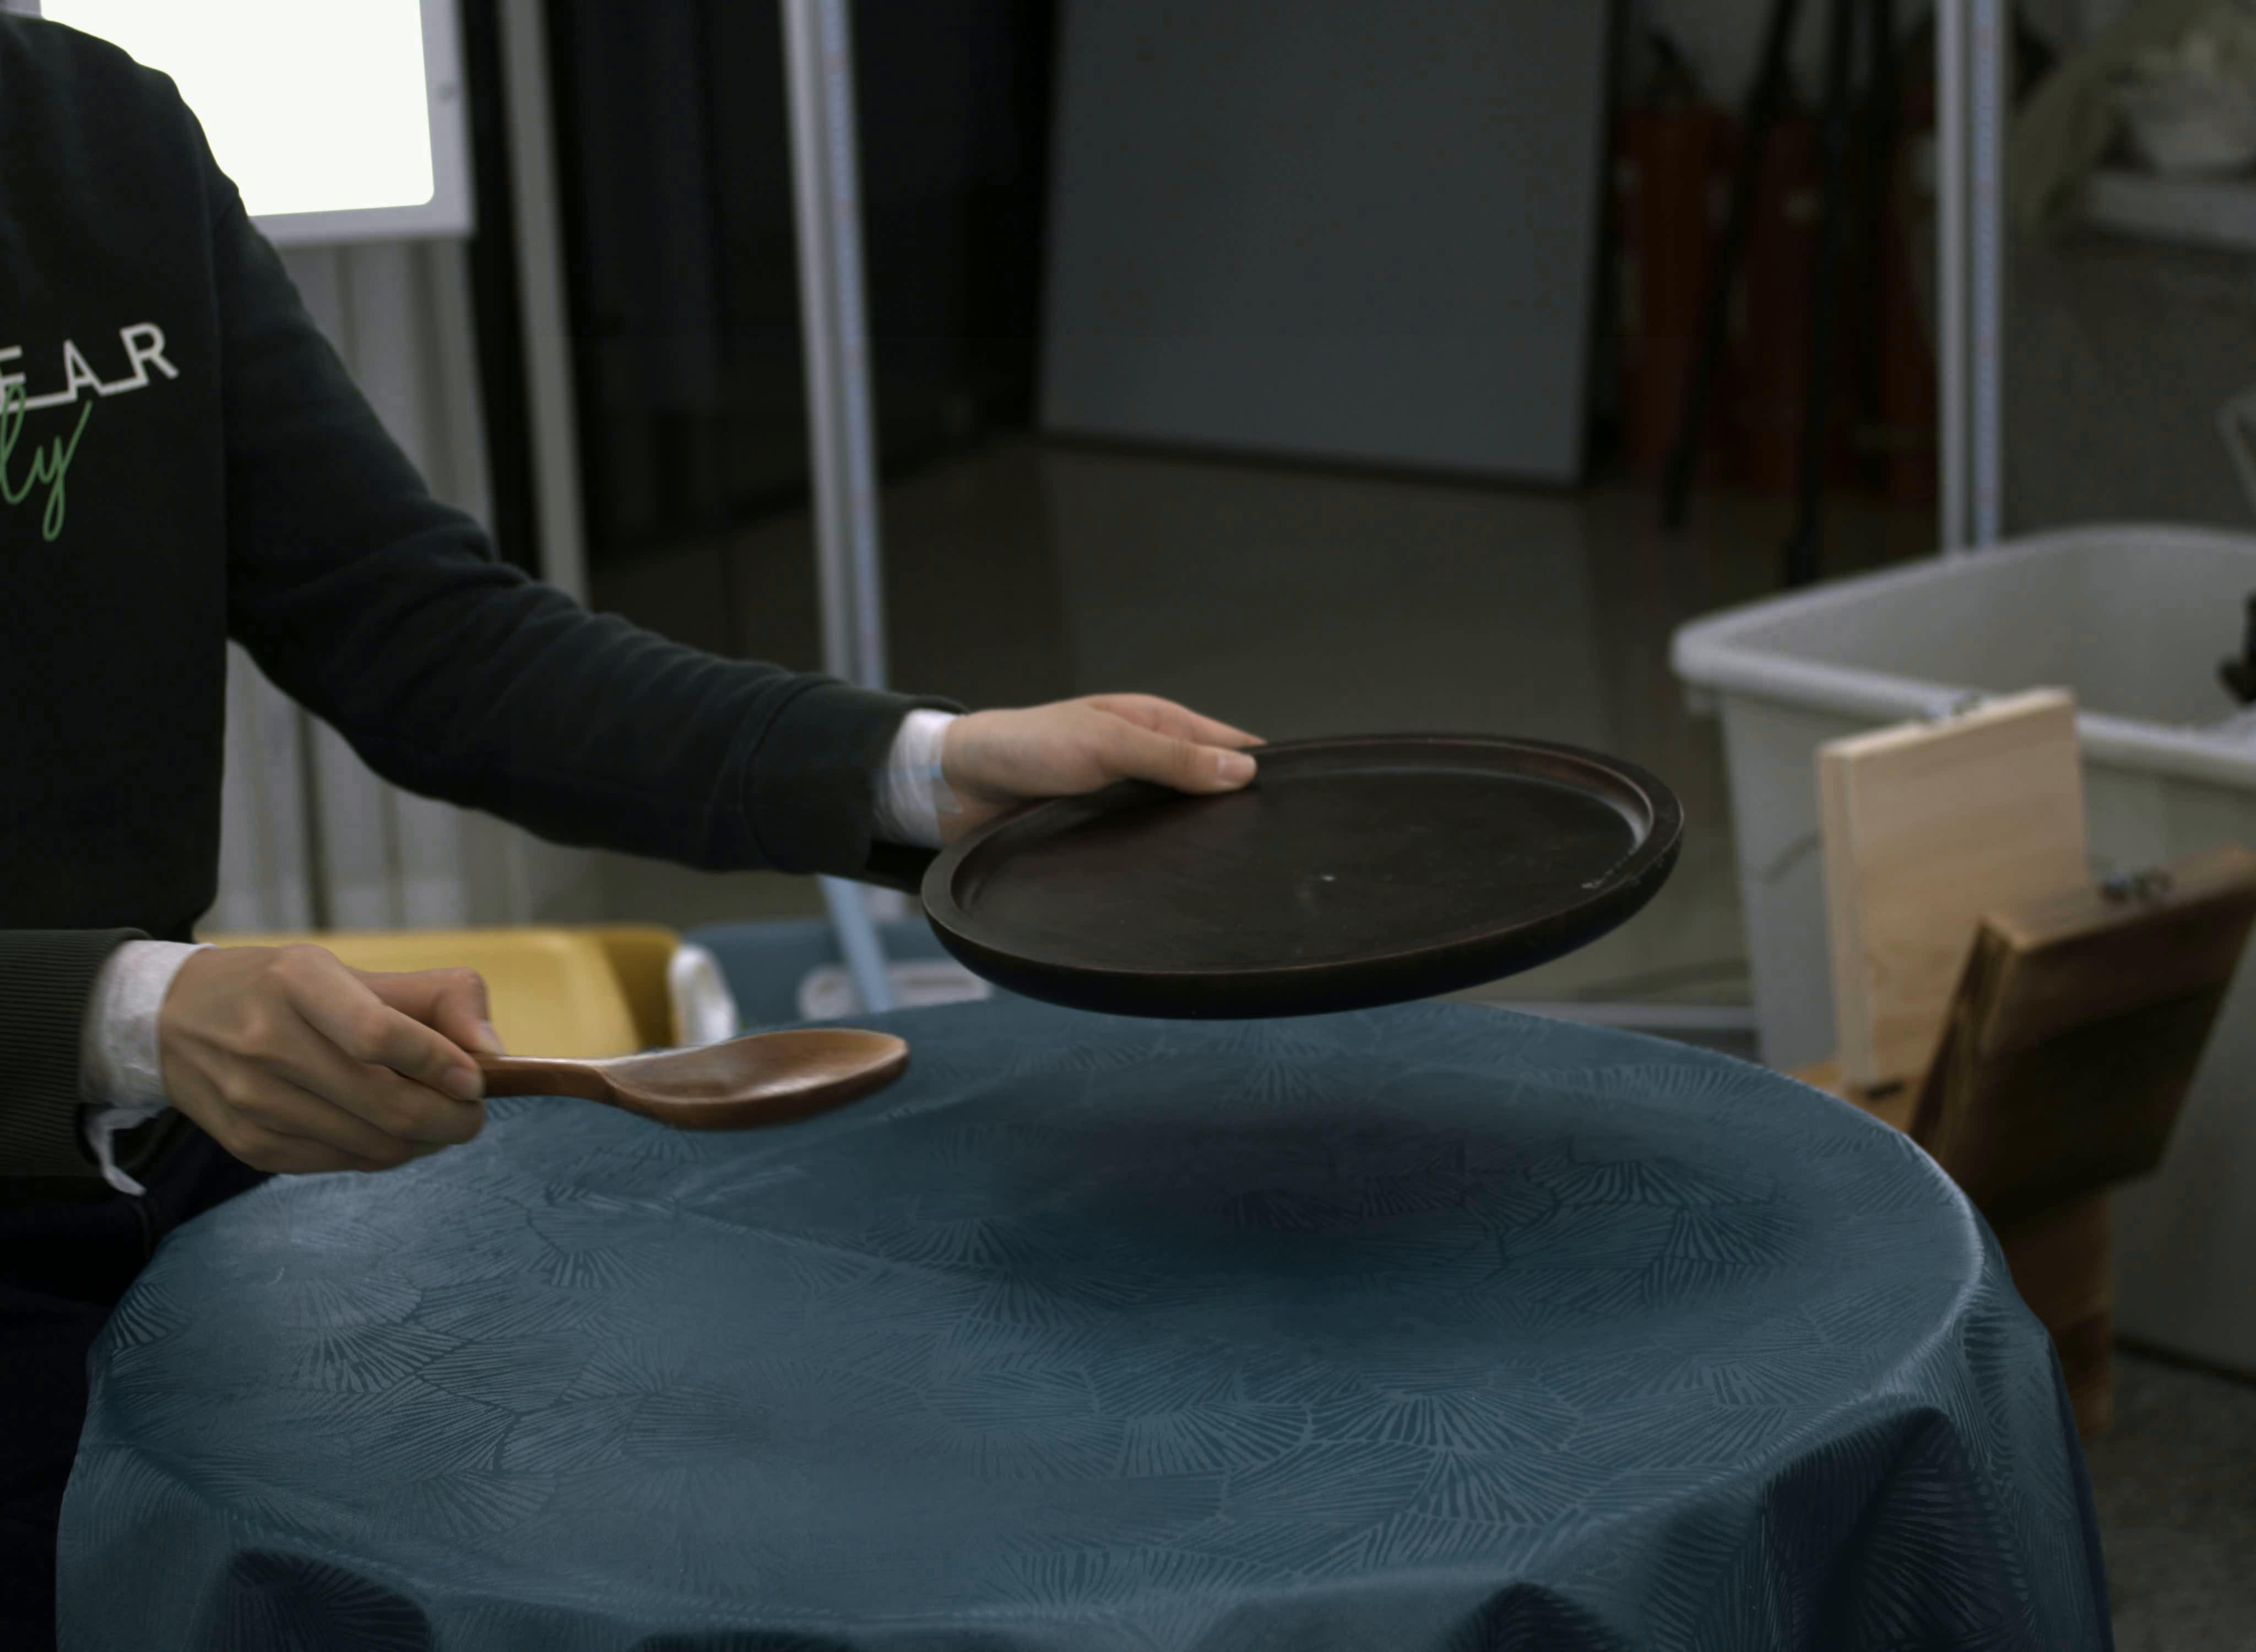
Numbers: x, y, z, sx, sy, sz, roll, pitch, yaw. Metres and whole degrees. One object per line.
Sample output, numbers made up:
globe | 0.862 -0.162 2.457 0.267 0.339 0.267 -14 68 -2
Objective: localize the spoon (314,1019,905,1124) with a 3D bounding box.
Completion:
spoon | -0.153 0.071 1.550 0.217 0.017 0.074 -1 14 38

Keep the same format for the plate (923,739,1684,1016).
plate | 0.057 0.014 1.763 0.251 0.029 0.255 -6 16 1
